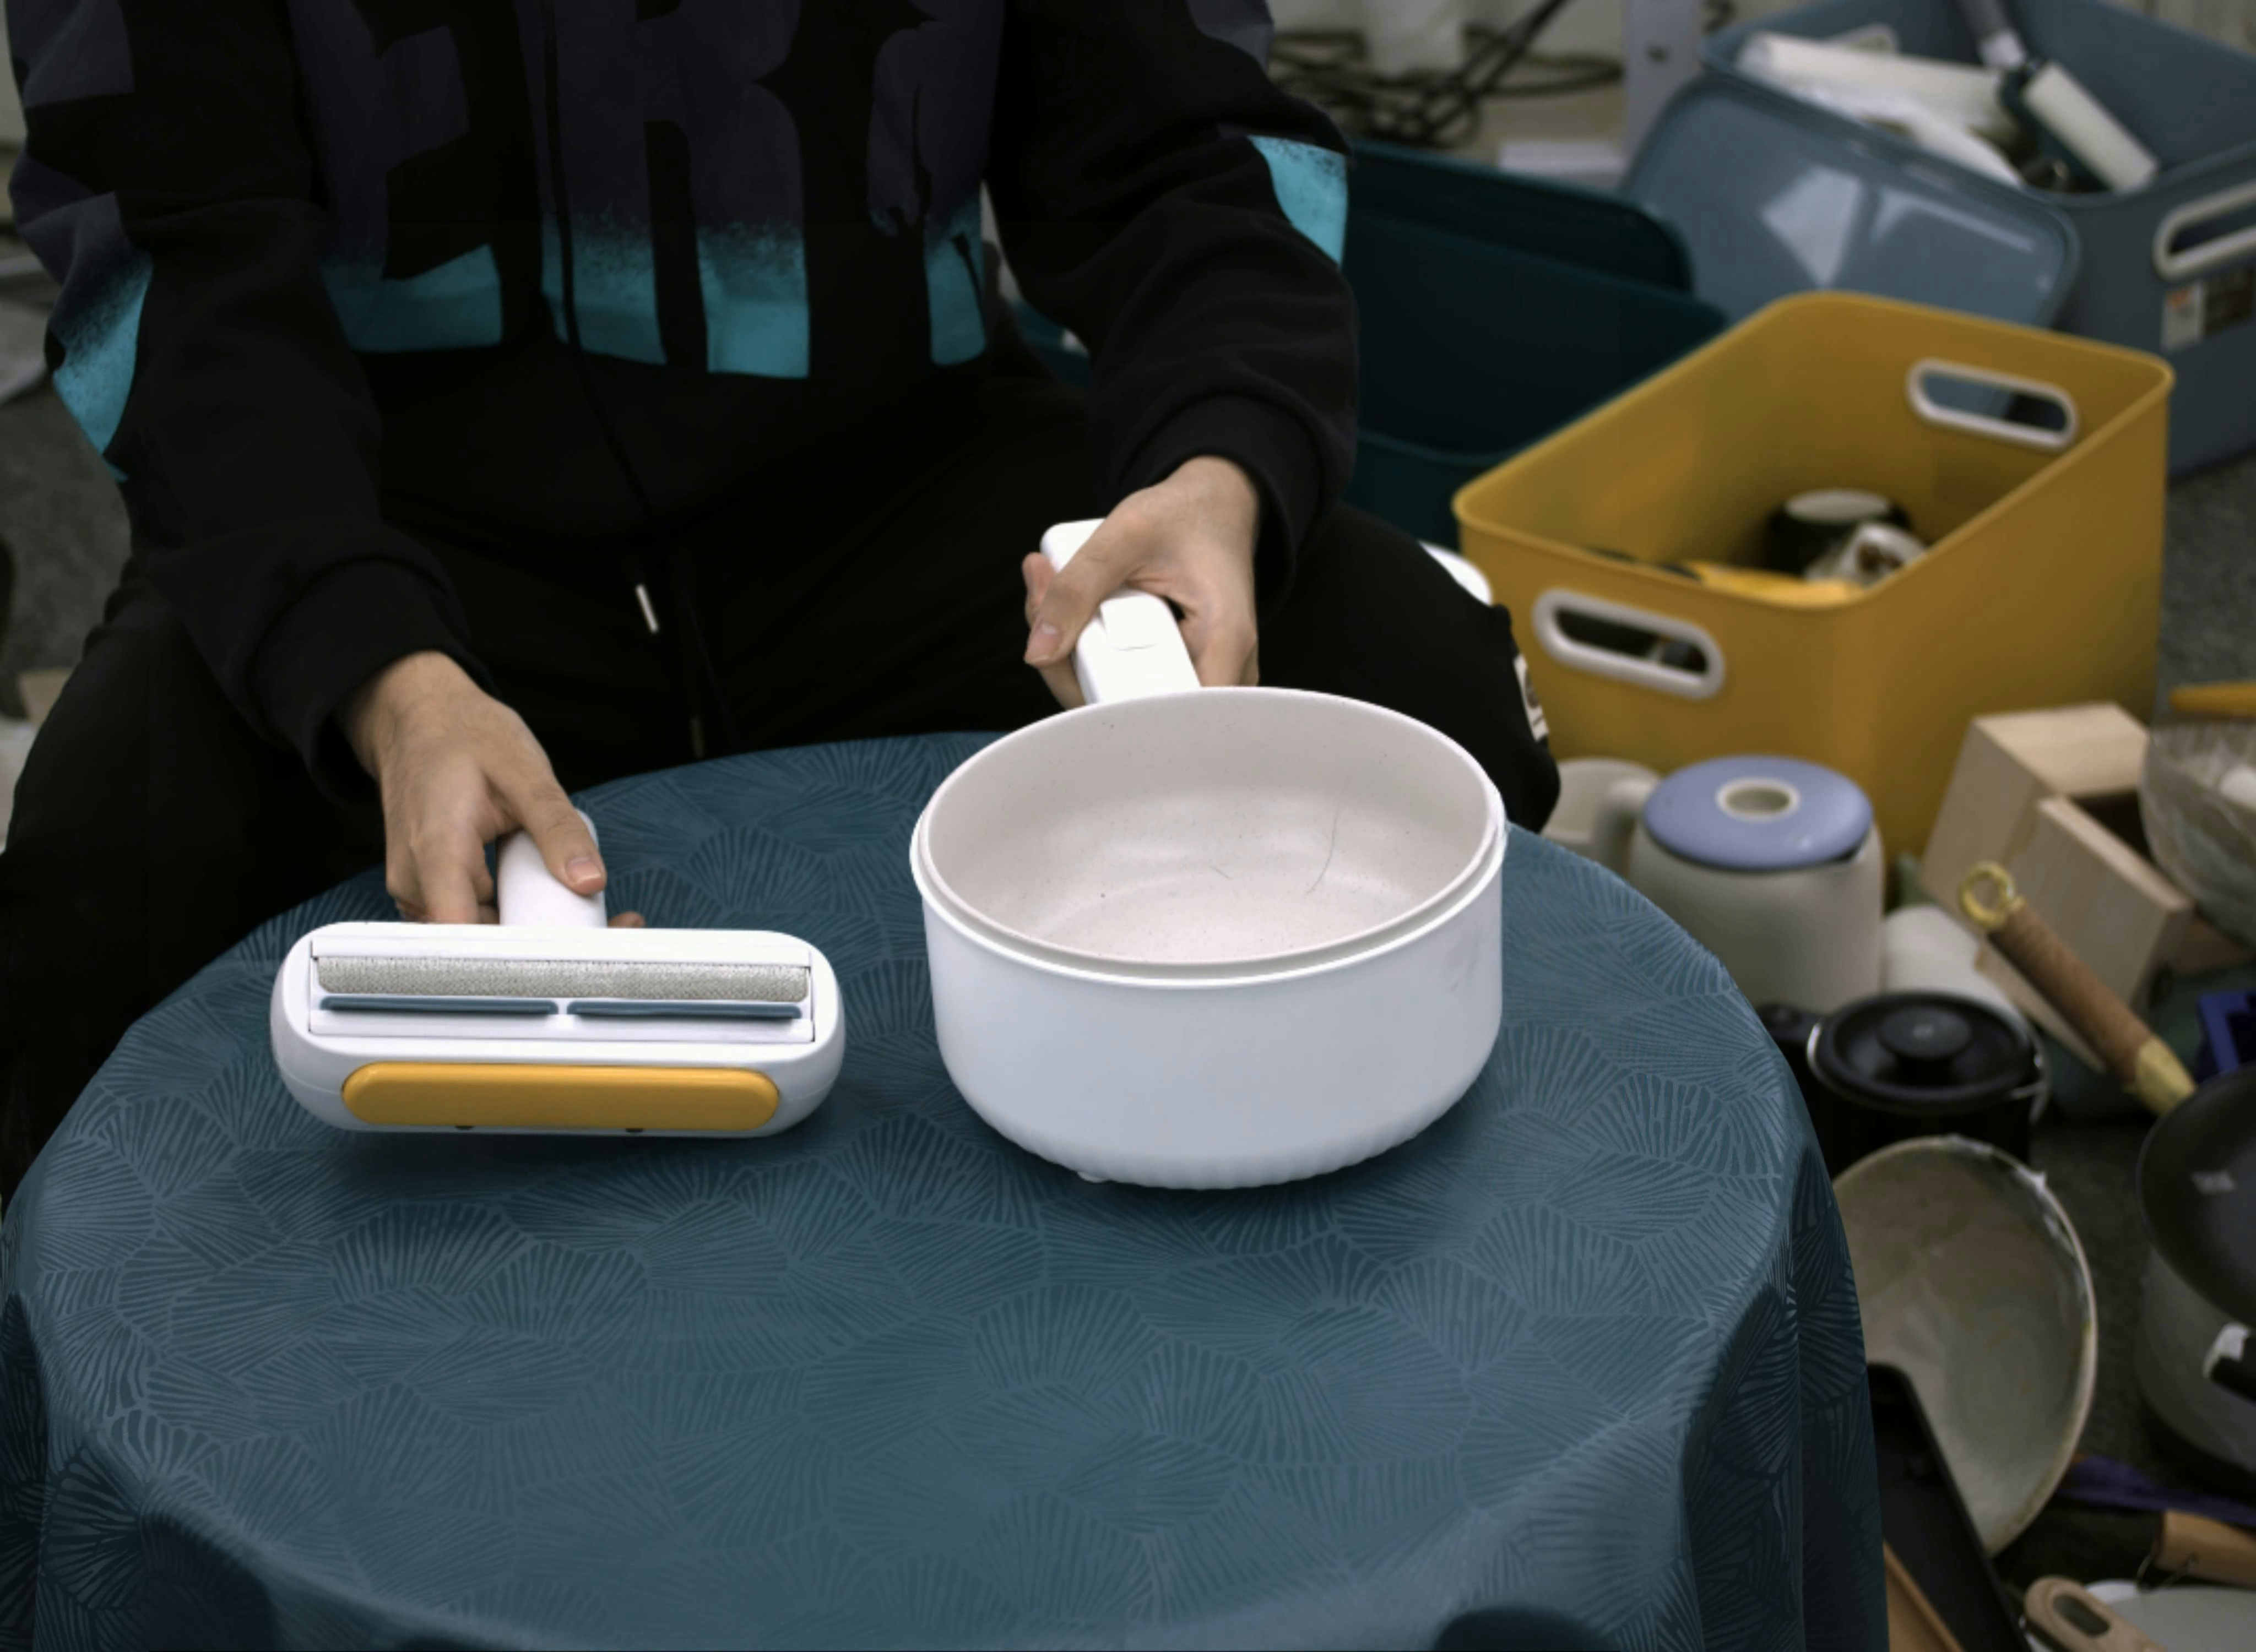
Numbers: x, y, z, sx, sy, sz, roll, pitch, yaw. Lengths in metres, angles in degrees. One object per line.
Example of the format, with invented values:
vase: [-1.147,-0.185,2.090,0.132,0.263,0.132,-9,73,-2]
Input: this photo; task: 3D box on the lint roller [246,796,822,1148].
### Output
lint roller: [-0.202,0.039,1.943,0.192,0.073,0.196,0,38,-4]

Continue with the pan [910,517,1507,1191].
pan: [0.016,0.007,1.970,0.201,0.101,0.359,-7,27,-7]
